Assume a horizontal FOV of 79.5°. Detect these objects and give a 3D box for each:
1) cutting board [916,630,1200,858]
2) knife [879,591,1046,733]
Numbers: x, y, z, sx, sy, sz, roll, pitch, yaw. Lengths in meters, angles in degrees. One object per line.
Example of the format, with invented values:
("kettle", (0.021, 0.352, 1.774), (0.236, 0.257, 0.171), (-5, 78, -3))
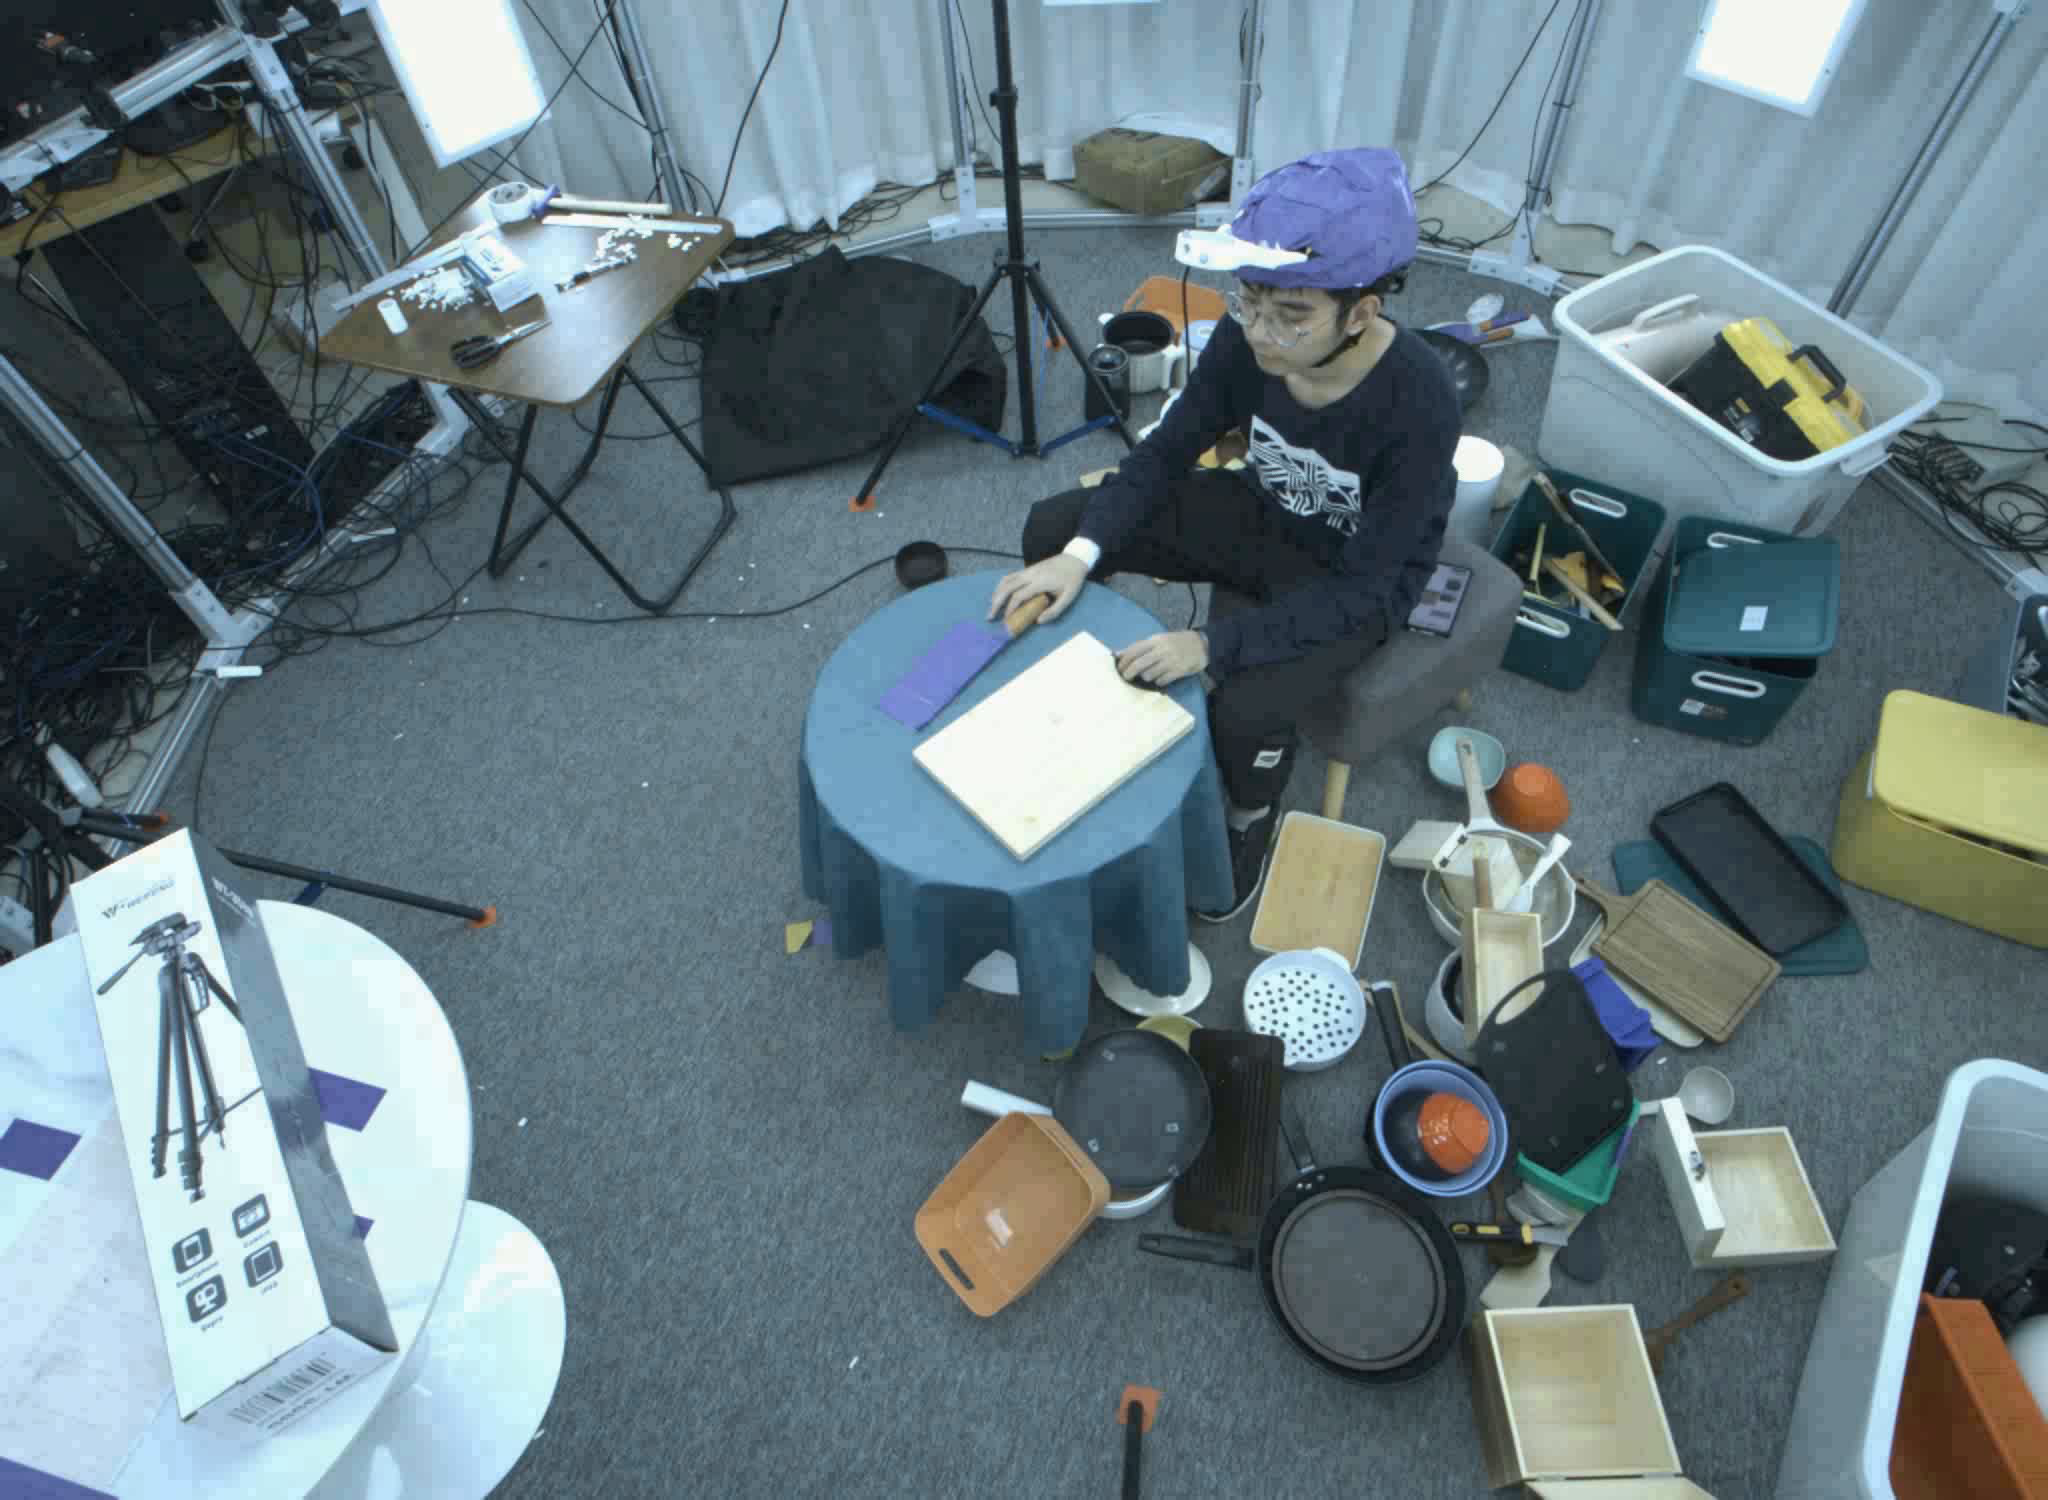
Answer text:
("cutting board", (0.048, -0.019, 1.797), (0.351, 0.024, 0.246), (-37, 62, -23))
("knife", (-0.095, -0.153, 1.890), (0.102, 0.032, 0.317), (32, 62, 21))
